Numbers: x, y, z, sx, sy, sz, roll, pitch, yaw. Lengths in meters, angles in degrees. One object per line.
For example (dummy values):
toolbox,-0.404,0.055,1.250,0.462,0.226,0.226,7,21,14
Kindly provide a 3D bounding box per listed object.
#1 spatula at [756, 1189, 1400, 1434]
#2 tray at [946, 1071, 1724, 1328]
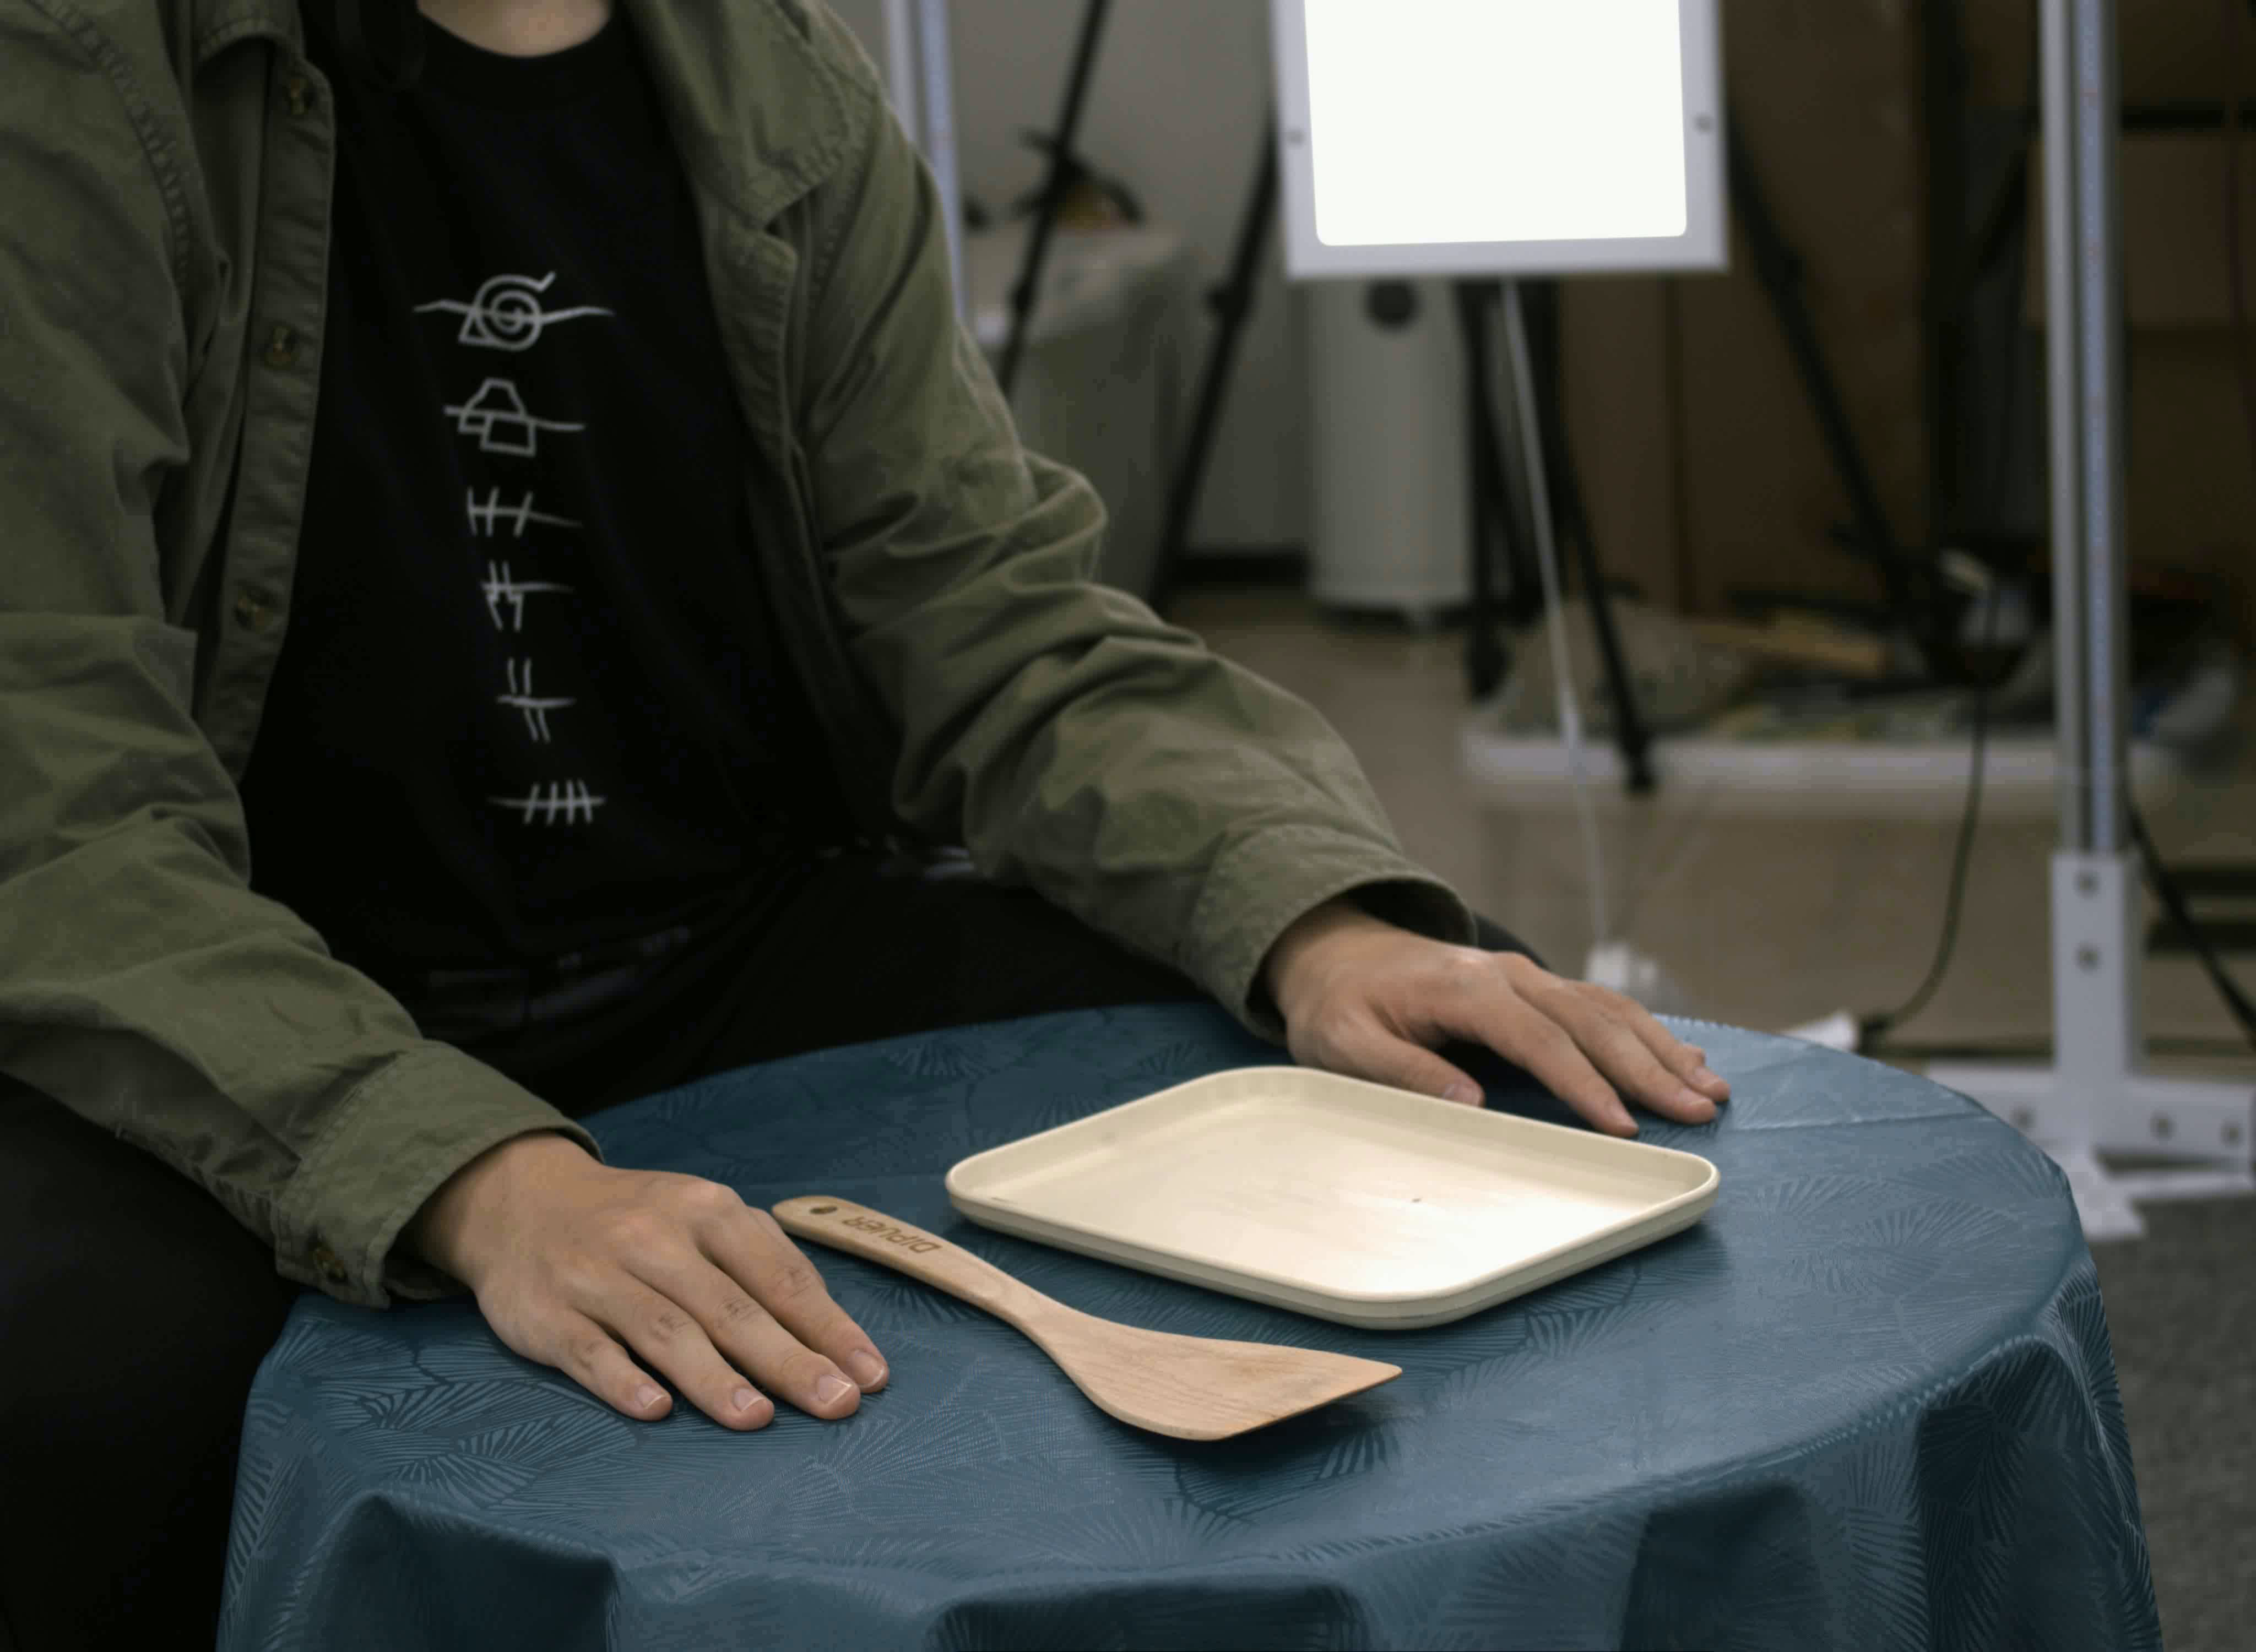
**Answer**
spatula,-0.030,0.151,1.770,0.078,0.016,0.334,-13,16,-31
tray,0.068,0.124,1.842,0.167,0.017,0.245,-16,17,-39
